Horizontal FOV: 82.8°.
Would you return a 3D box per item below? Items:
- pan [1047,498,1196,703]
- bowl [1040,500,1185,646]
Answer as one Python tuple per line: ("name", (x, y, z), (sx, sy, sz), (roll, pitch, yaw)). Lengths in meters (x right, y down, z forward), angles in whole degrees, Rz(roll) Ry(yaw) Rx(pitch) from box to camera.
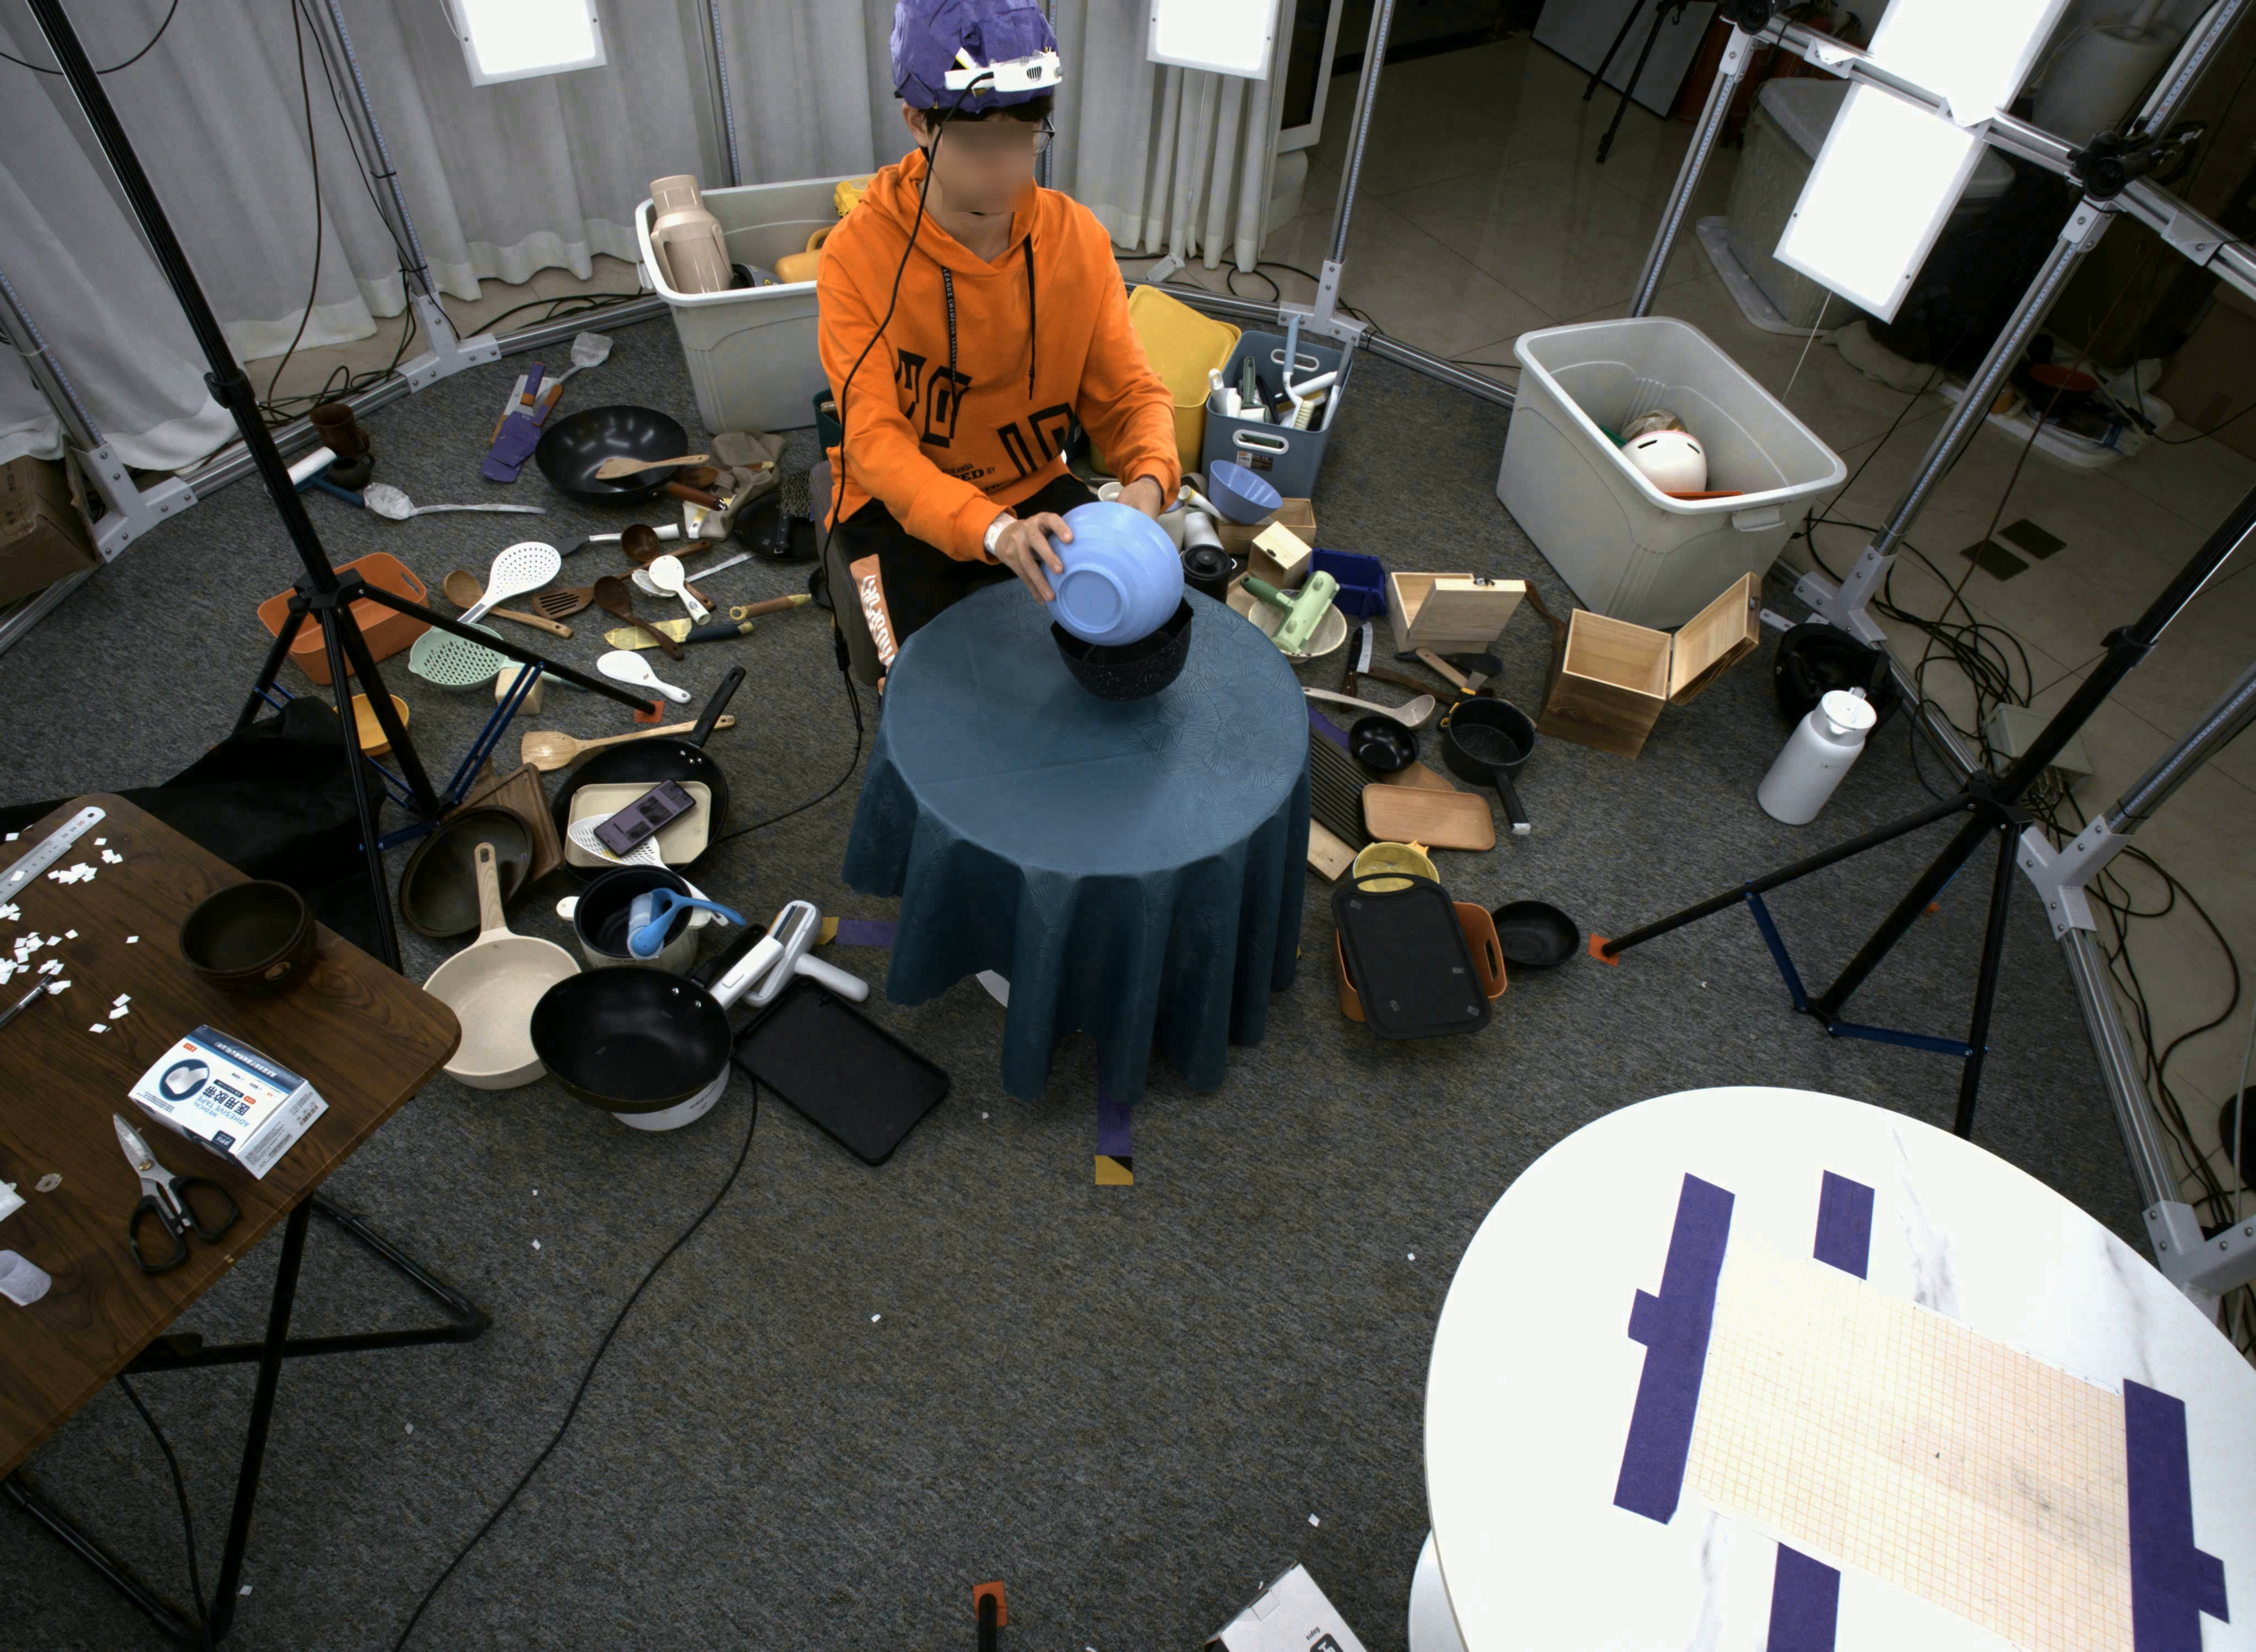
("pan", (-0.004, -0.320, 1.820), (0.207, 0.105, 0.351), (-7, 48, 9))
("bowl", (-0.033, -0.313, 1.672), (0.197, 0.192, 0.097), (18, 39, 11))
